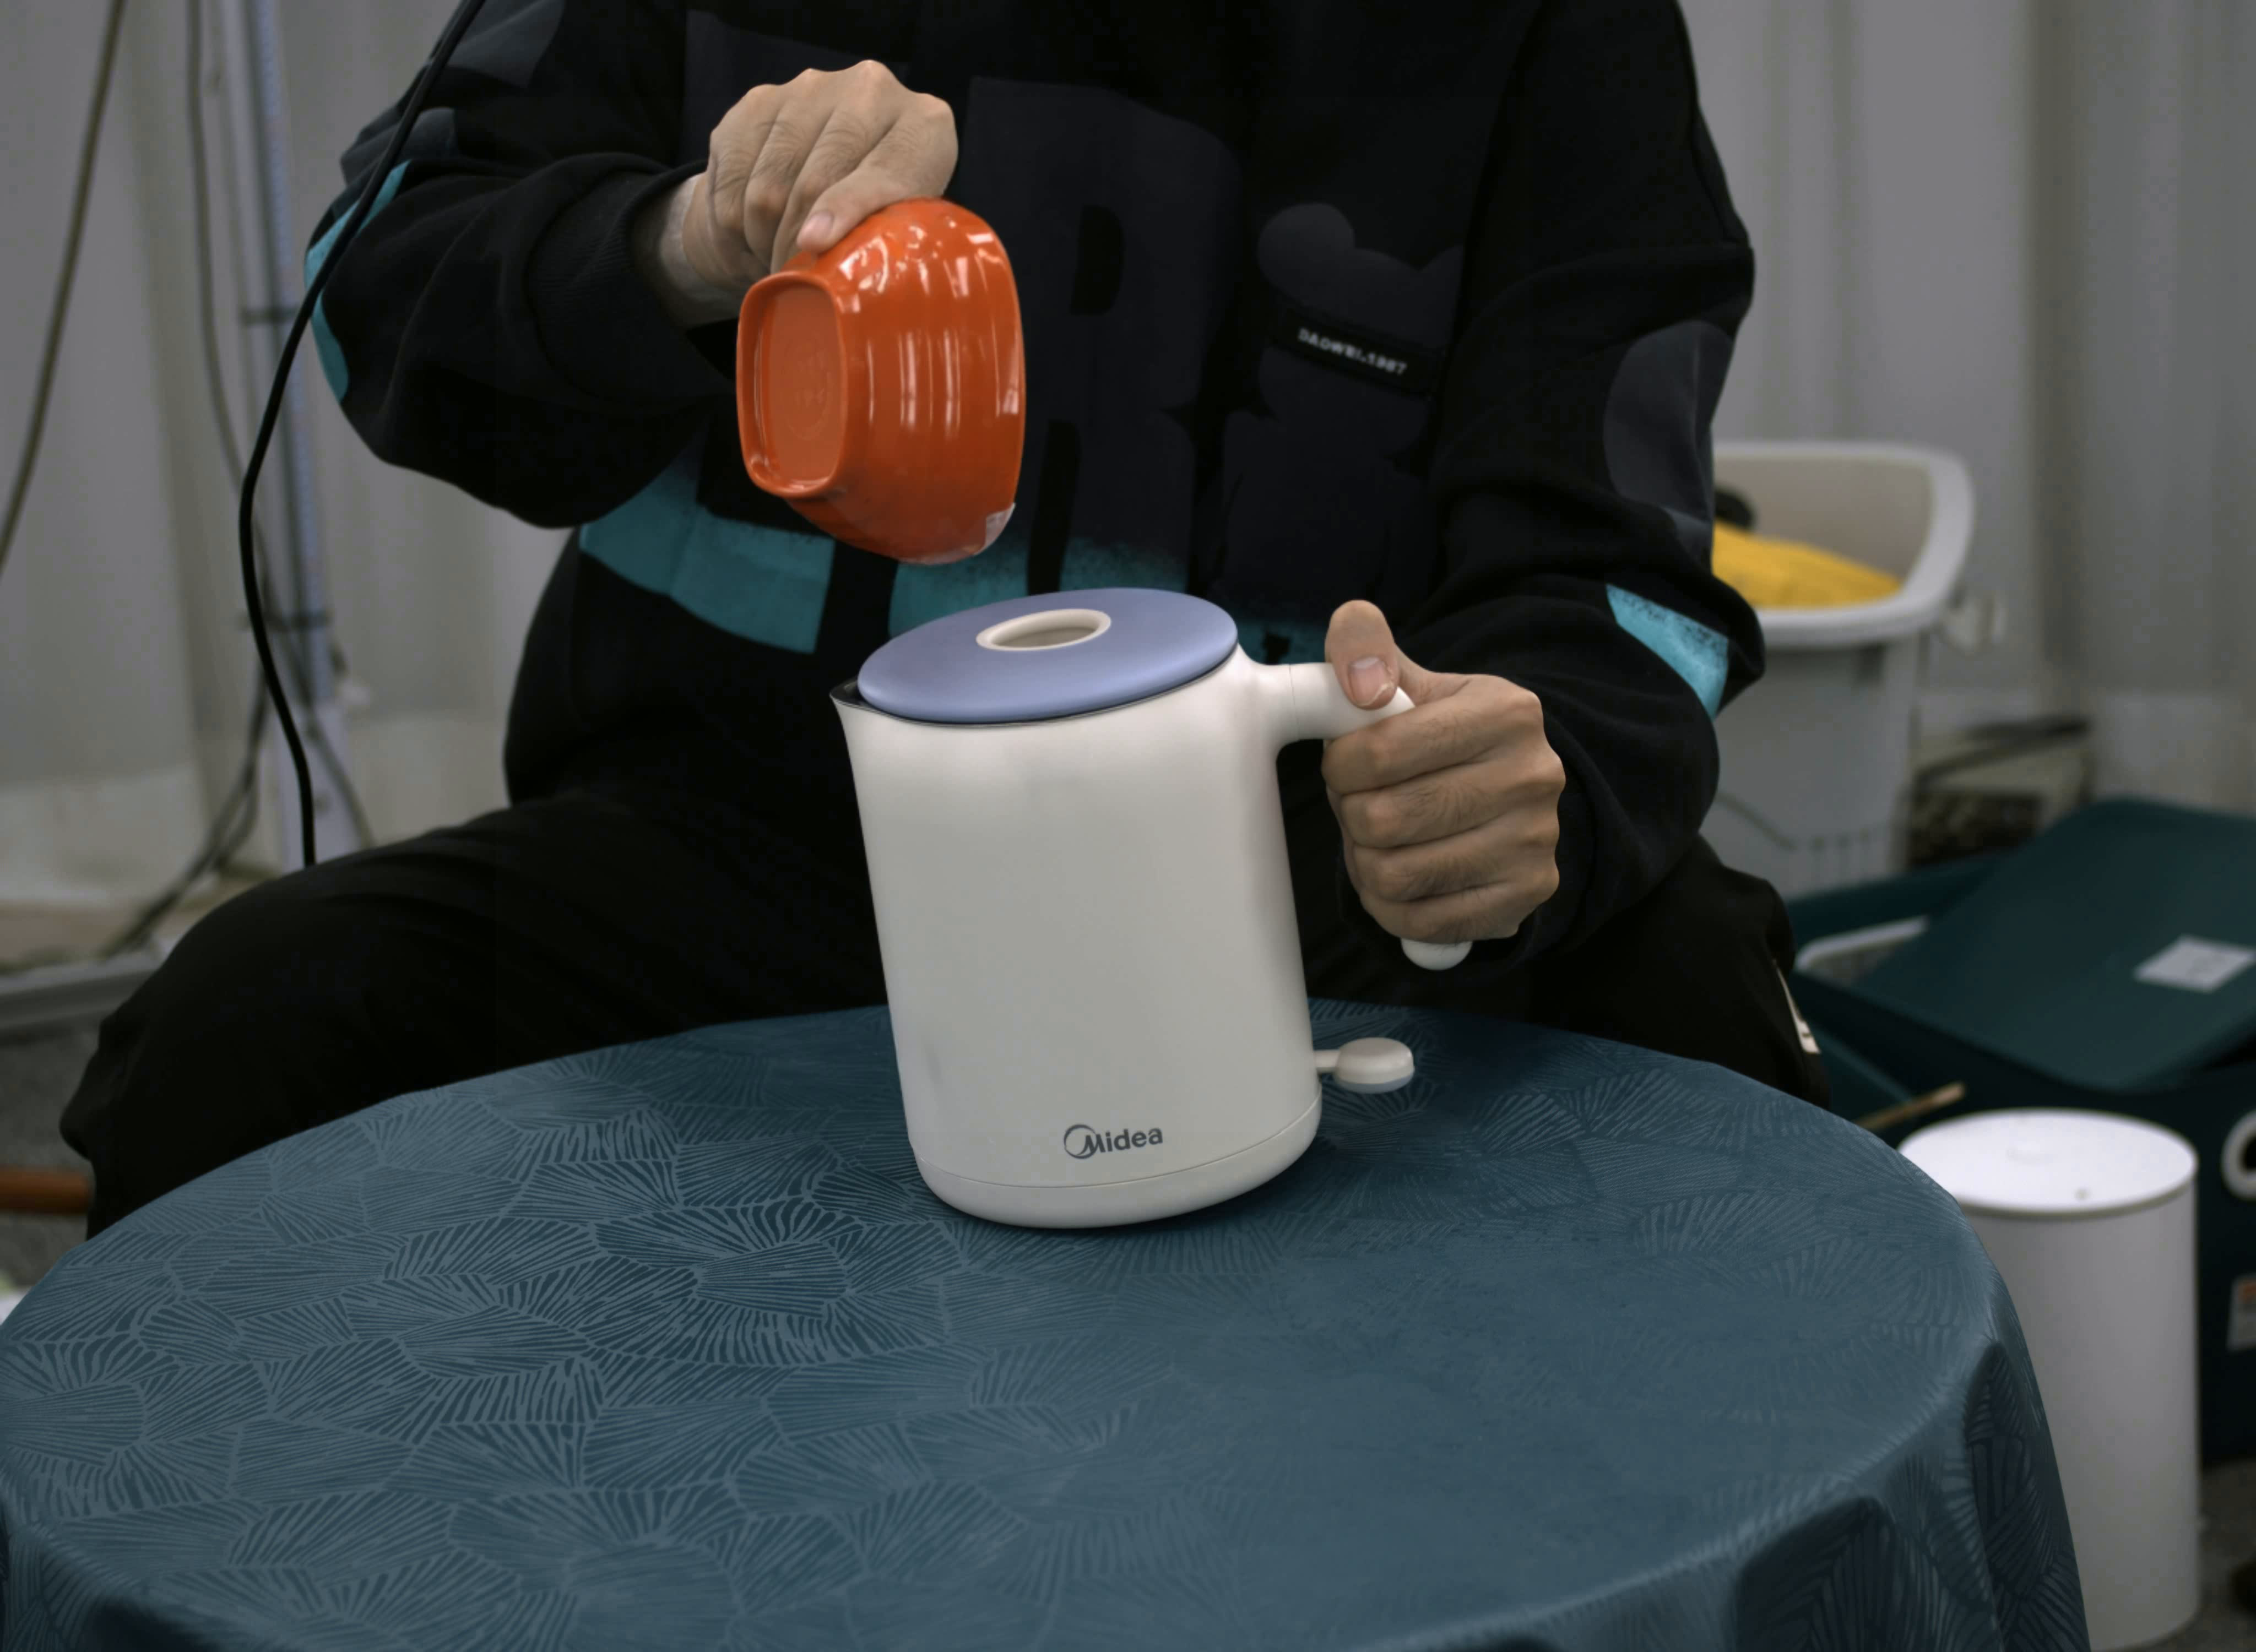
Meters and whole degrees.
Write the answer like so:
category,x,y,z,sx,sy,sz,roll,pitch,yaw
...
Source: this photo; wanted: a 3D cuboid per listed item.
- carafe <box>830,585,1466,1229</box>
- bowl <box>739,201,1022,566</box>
category,x,y,z,sx,sy,sz,roll,pitch,yaw
carafe,0.010,0.022,1.708,0.190,0.181,0.133,-6,18,-1
bowl,-0.080,-0.132,1.649,0.051,0.118,0.120,-5,14,-30
